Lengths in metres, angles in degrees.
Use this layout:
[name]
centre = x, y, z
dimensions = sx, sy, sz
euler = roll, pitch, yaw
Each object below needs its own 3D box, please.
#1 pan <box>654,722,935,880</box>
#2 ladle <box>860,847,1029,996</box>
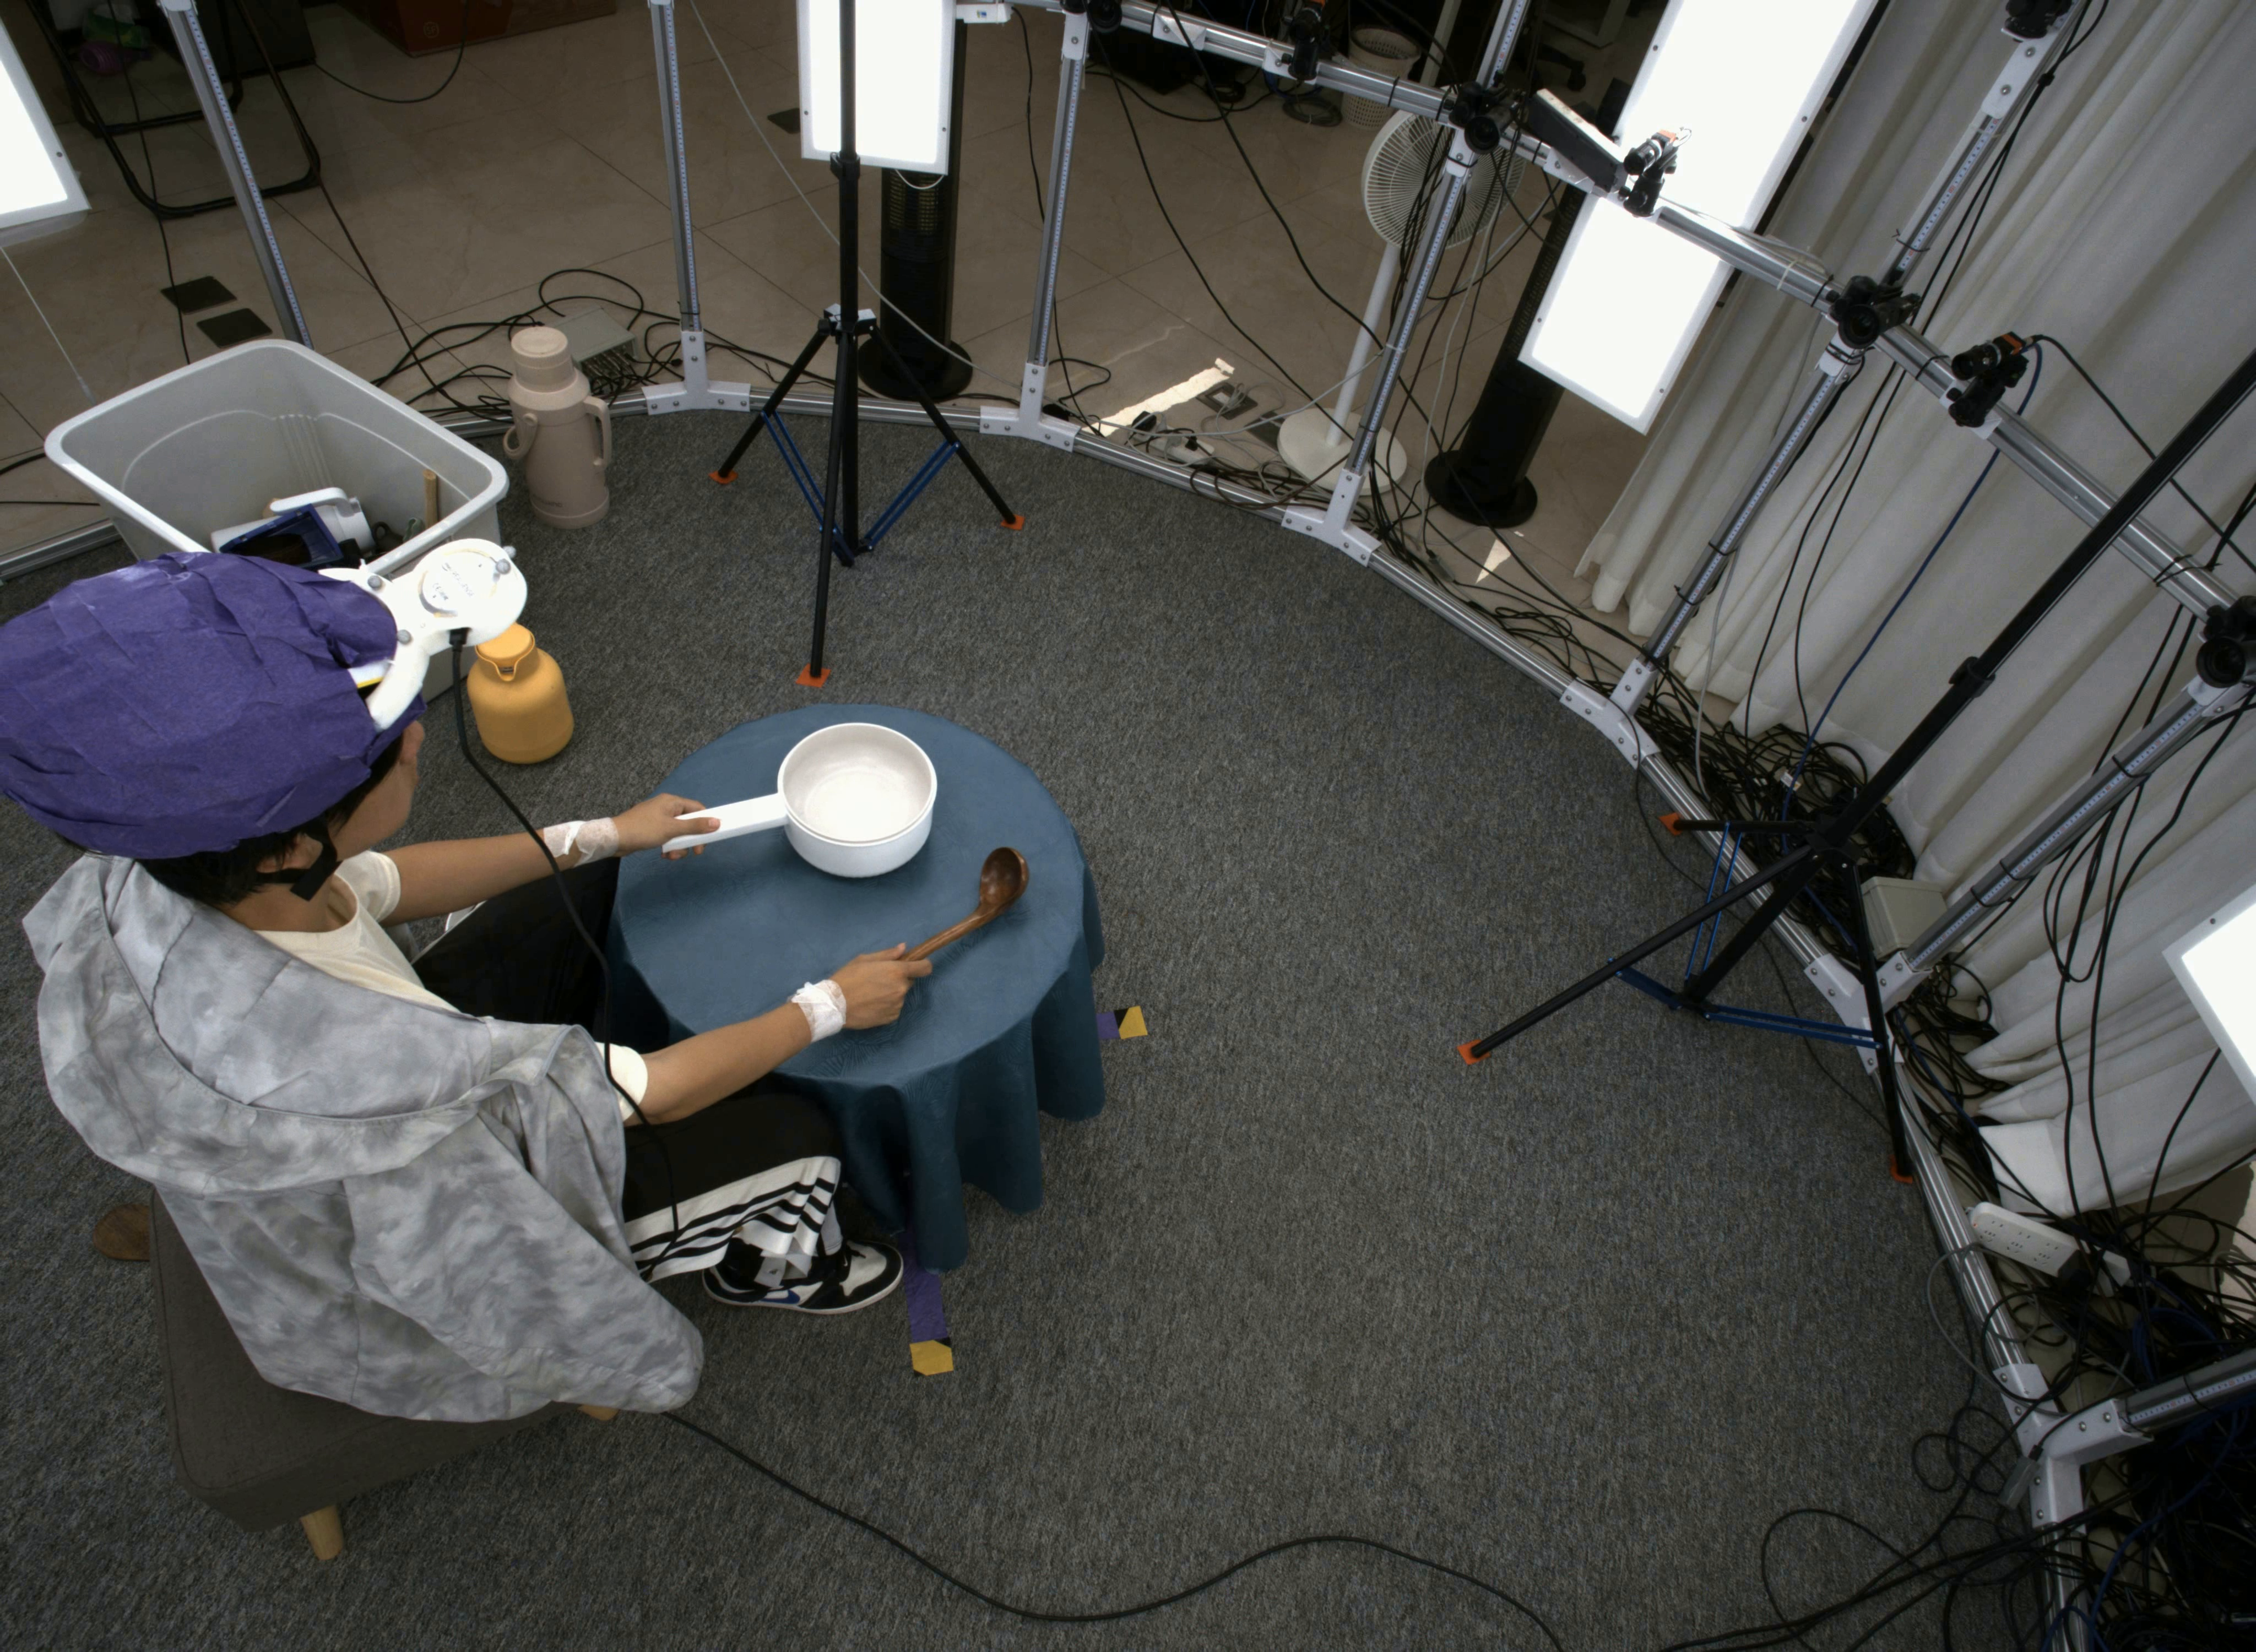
[pan]
centre = -0.423, -0.010, 1.671
dimensions = 0.356, 0.104, 0.196
euler = -15, 60, -22
[ladle]
centre = -0.231, 0.111, 1.626
dimensions = 0.275, 0.079, 0.078
euler = -31, 108, -37
